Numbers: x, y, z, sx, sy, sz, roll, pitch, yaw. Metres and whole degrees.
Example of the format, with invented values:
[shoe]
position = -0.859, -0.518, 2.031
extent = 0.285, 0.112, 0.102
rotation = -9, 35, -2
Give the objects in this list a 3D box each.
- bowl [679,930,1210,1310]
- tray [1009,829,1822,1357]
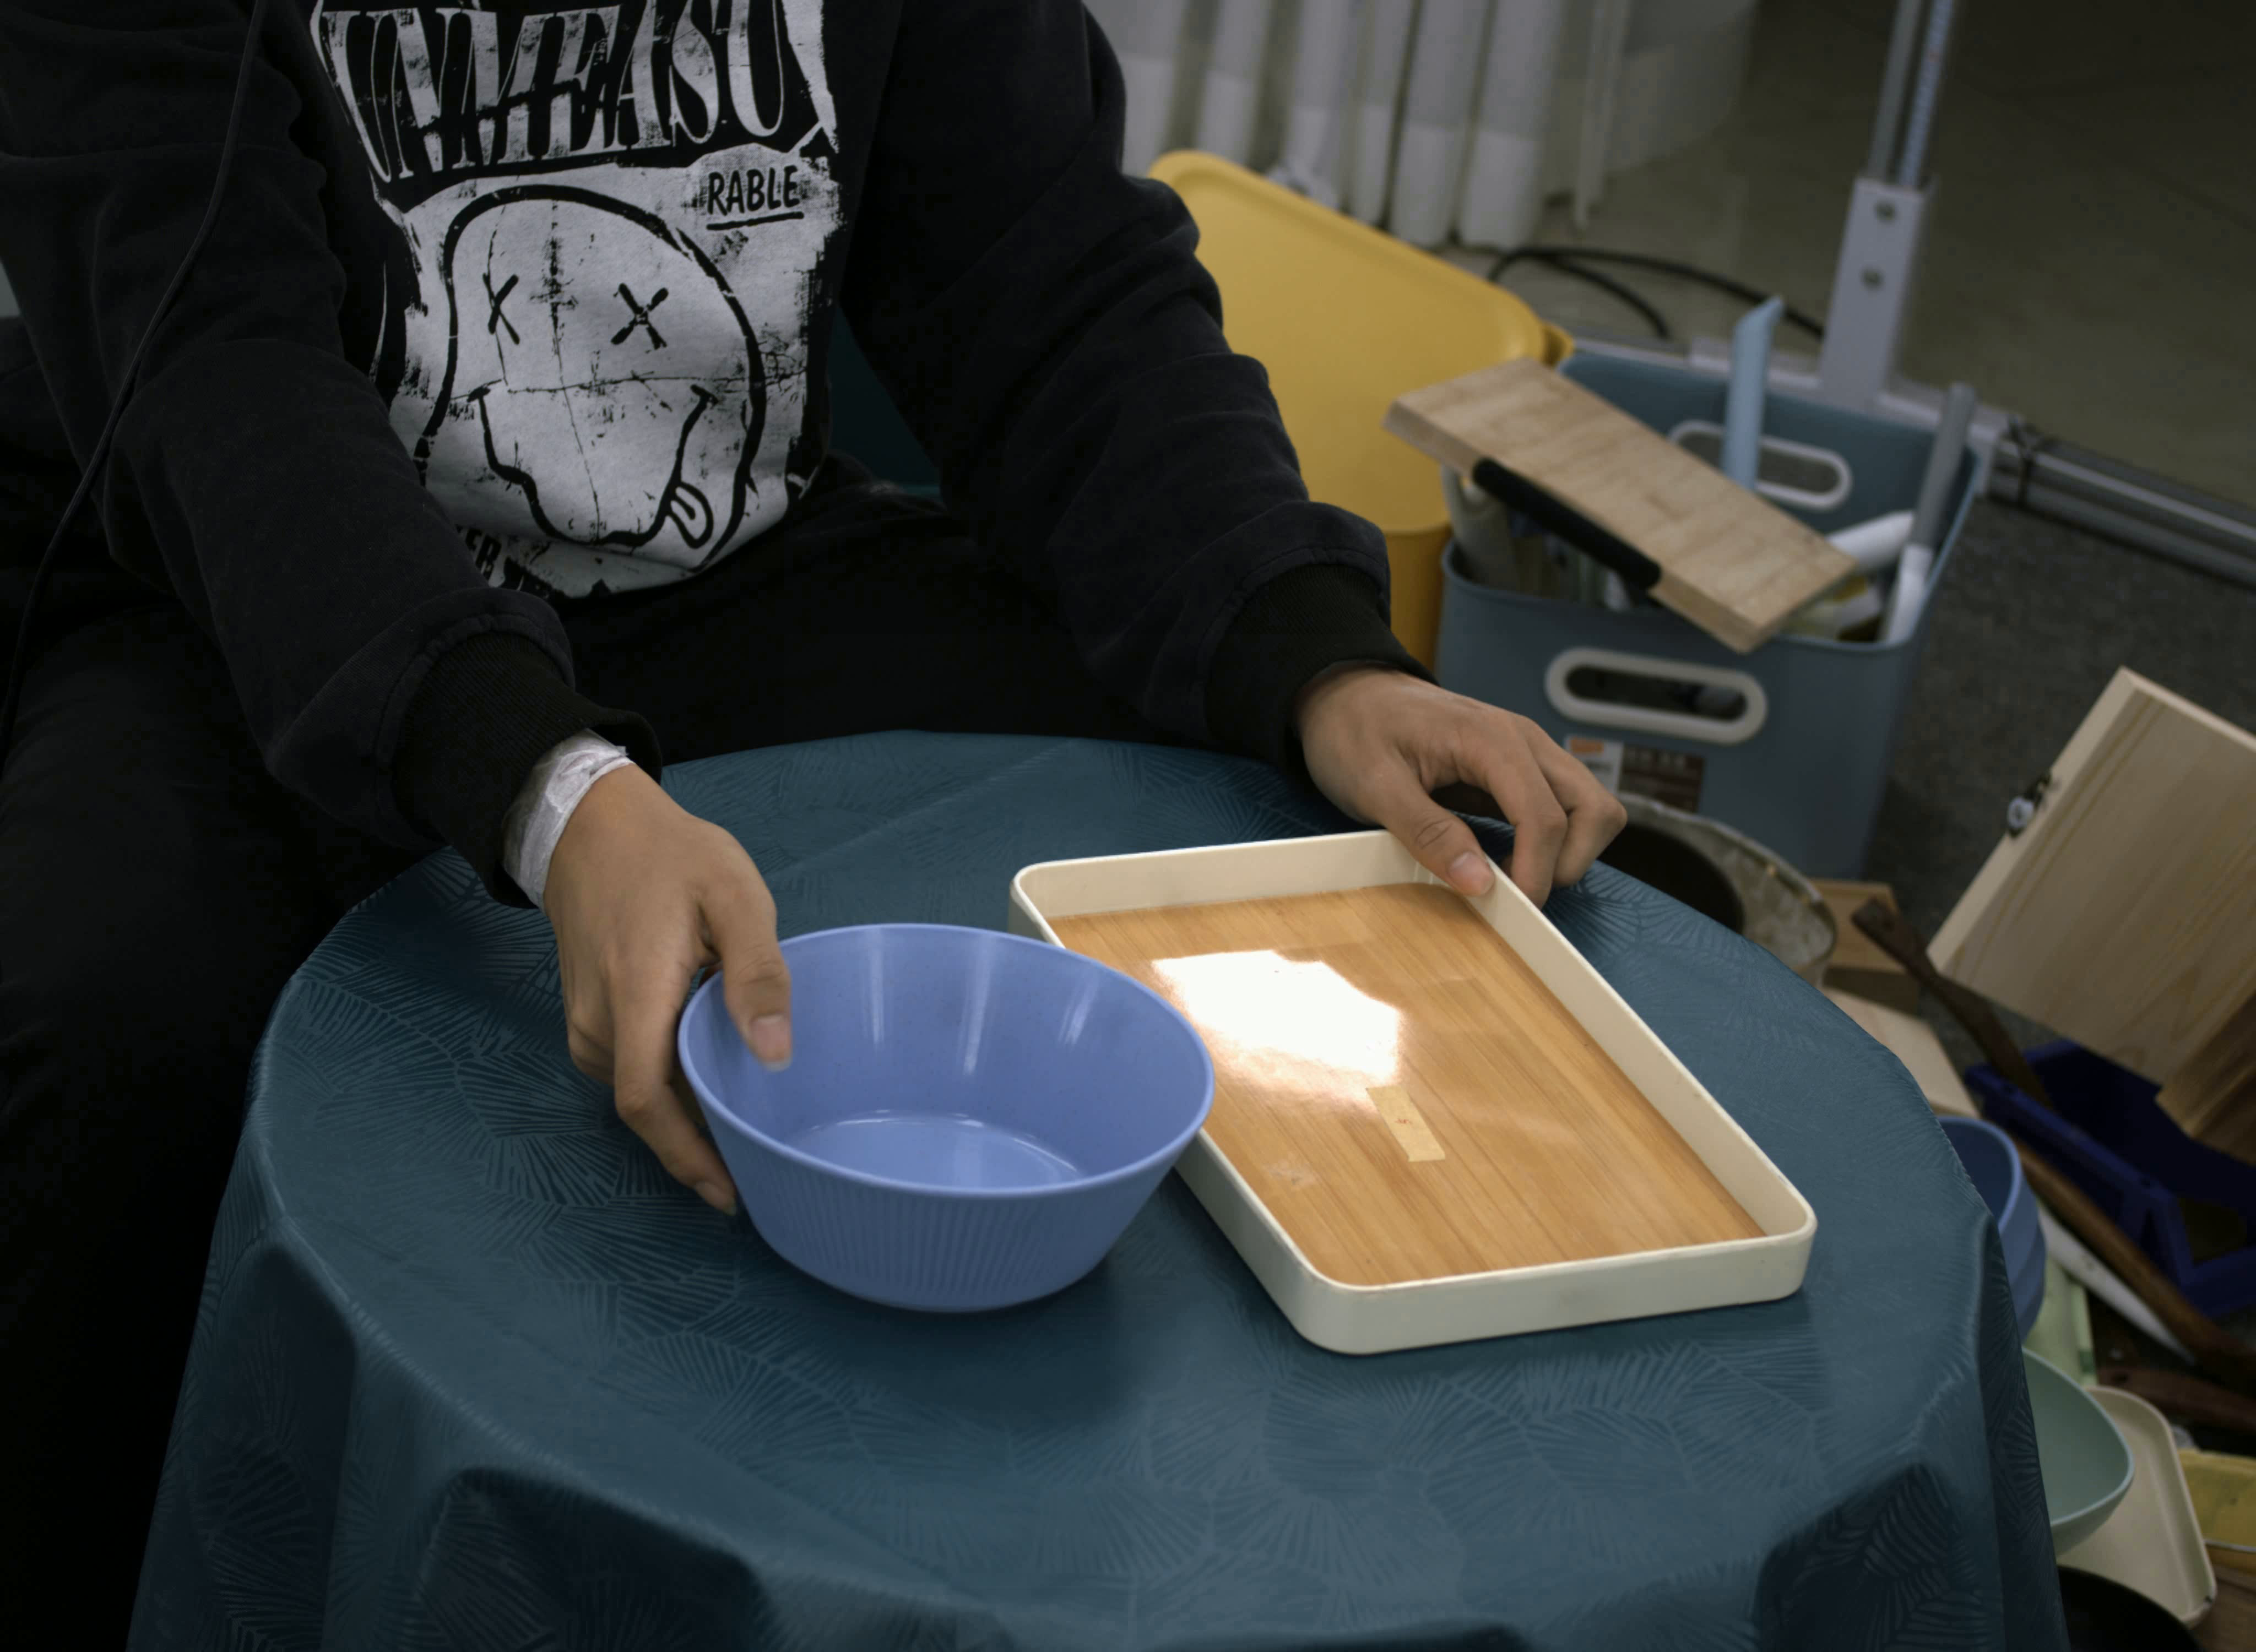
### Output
[bowl]
position = -0.063, 0.102, 1.749
extent = 0.175, 0.070, 0.177
rotation = 6, 26, -3
[tray]
position = 0.094, 0.087, 1.865
extent = 0.190, 0.027, 0.303
rotation = -5, 29, -22
